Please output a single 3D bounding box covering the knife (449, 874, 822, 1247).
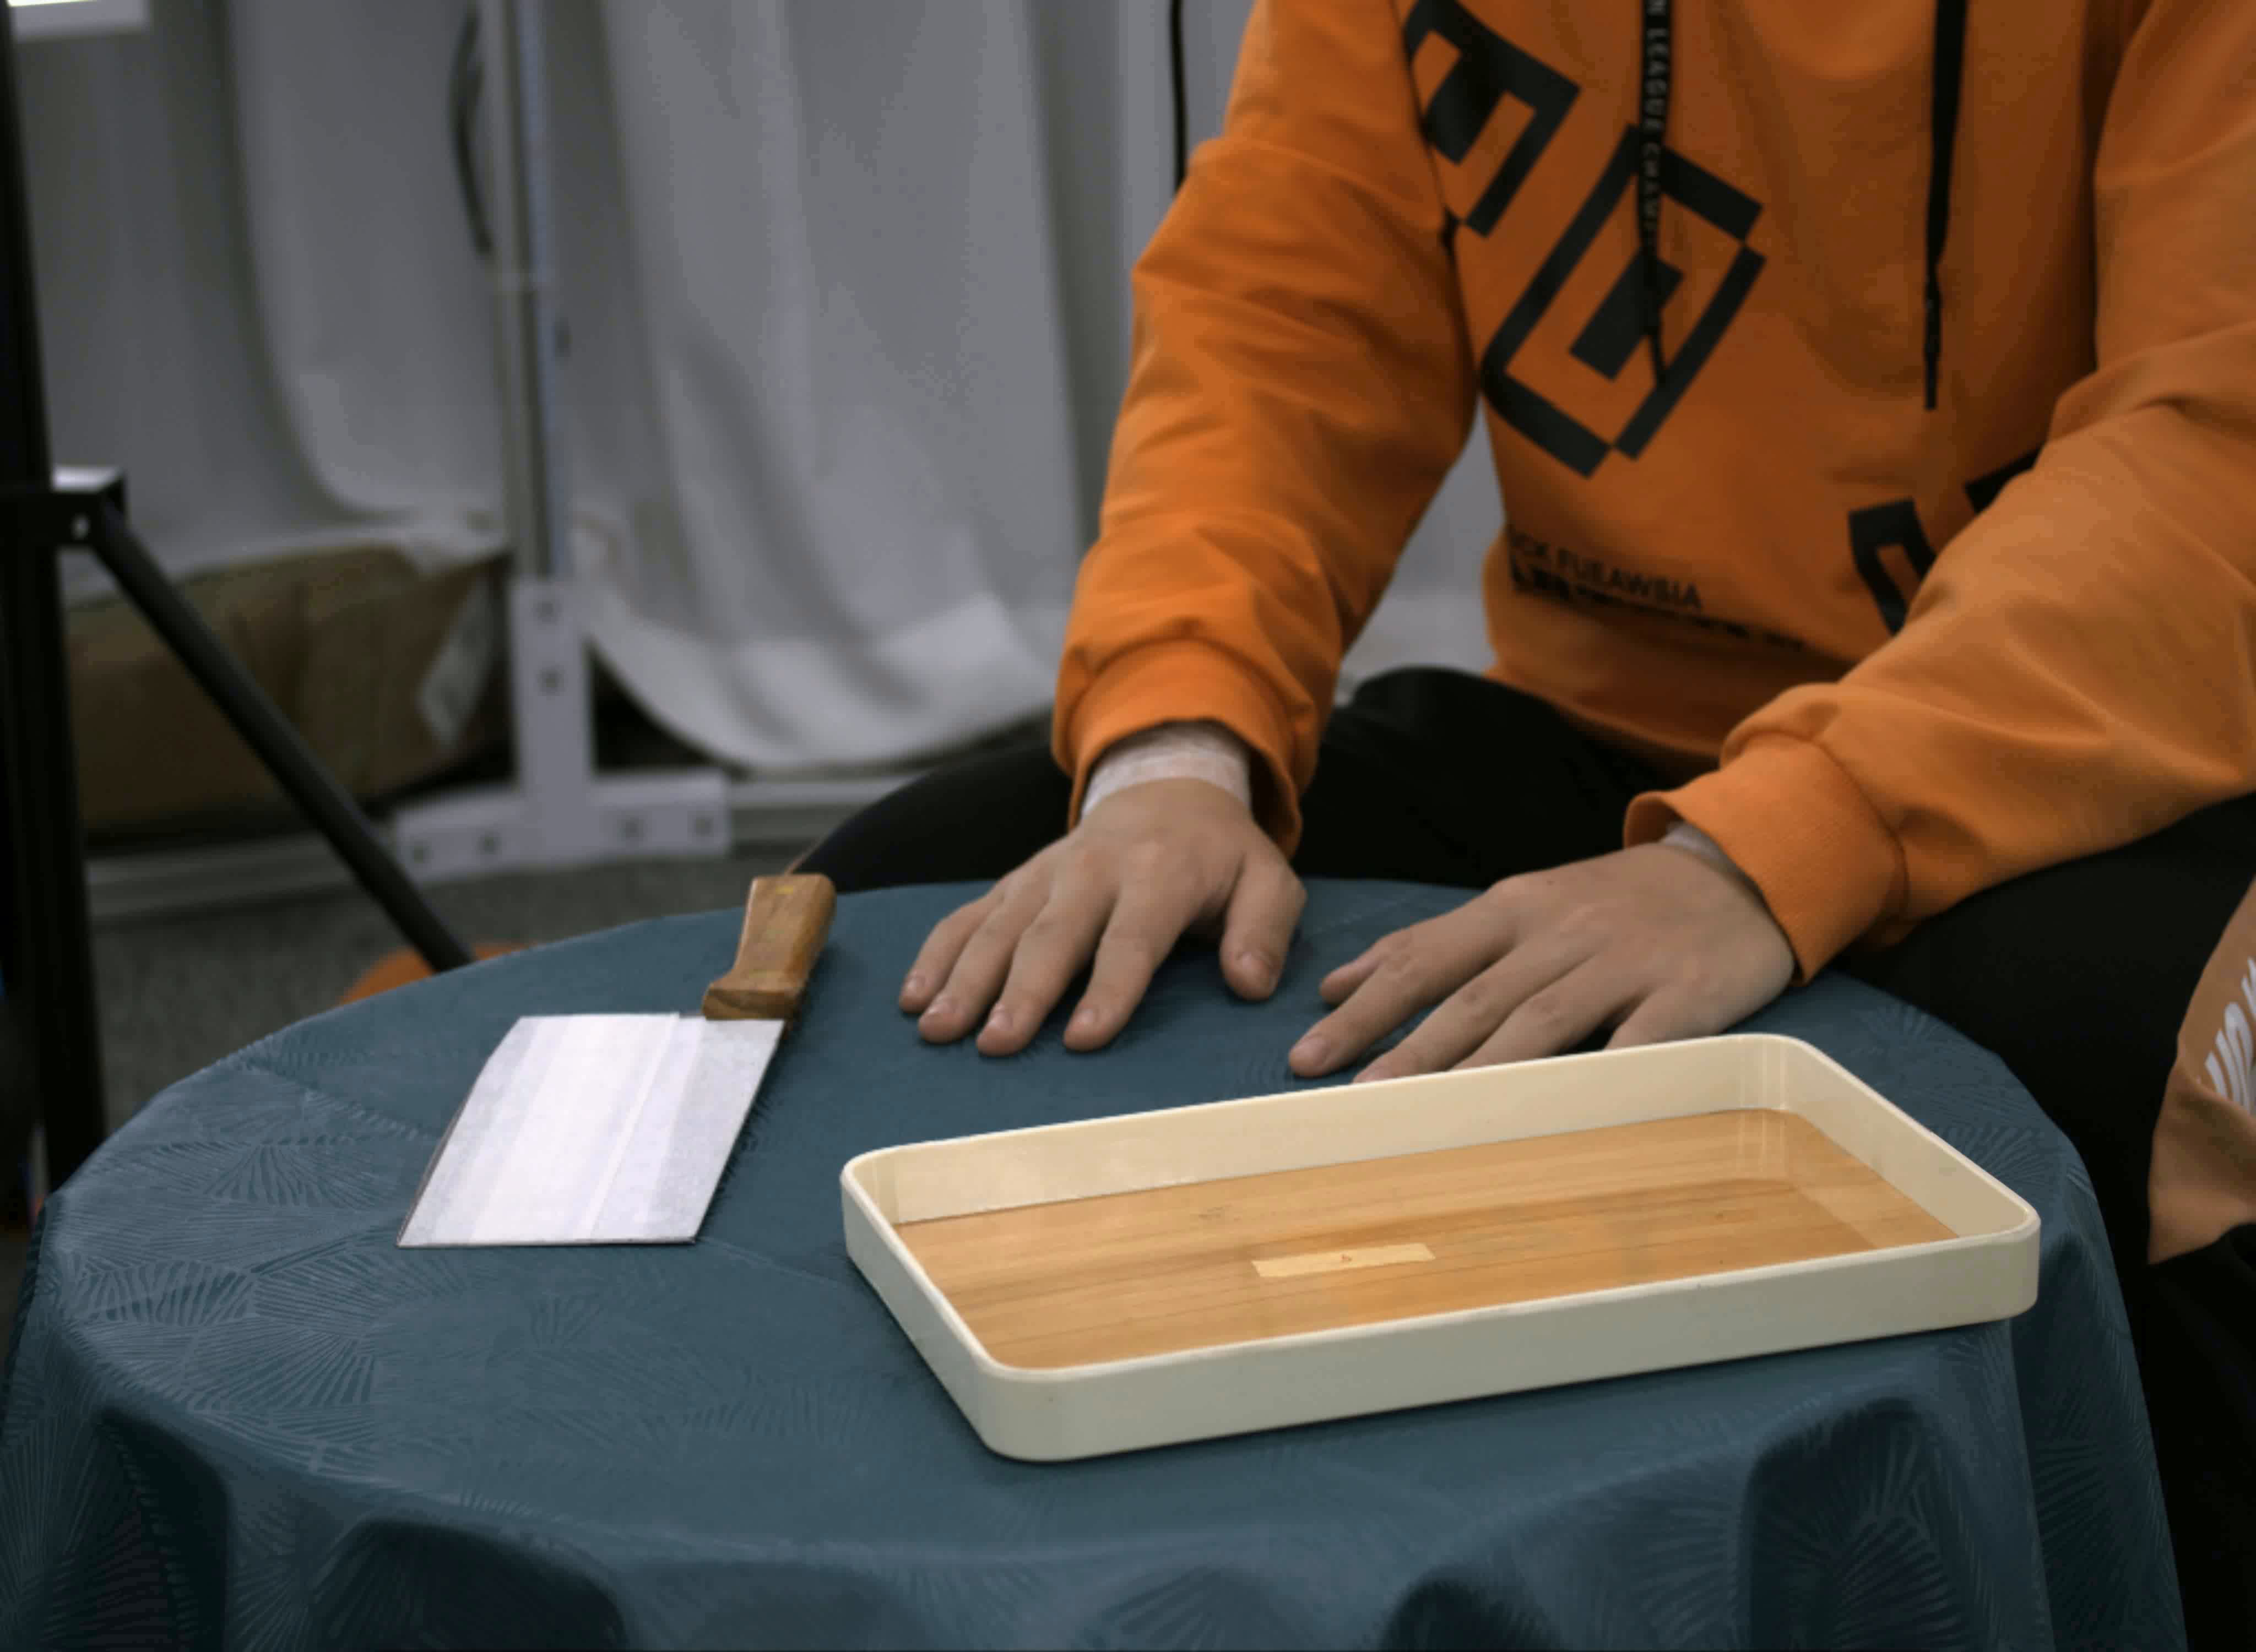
[{"bbox_3d":[-0.154,0.072,1.682,0.093,0.021,0.306,-2,18,6],"label":"knife"}]

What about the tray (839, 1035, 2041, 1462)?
[{"bbox_3d":[0.084,0.114,1.472,0.296,0.027,0.194,-7,16,-13],"label":"tray"}]
